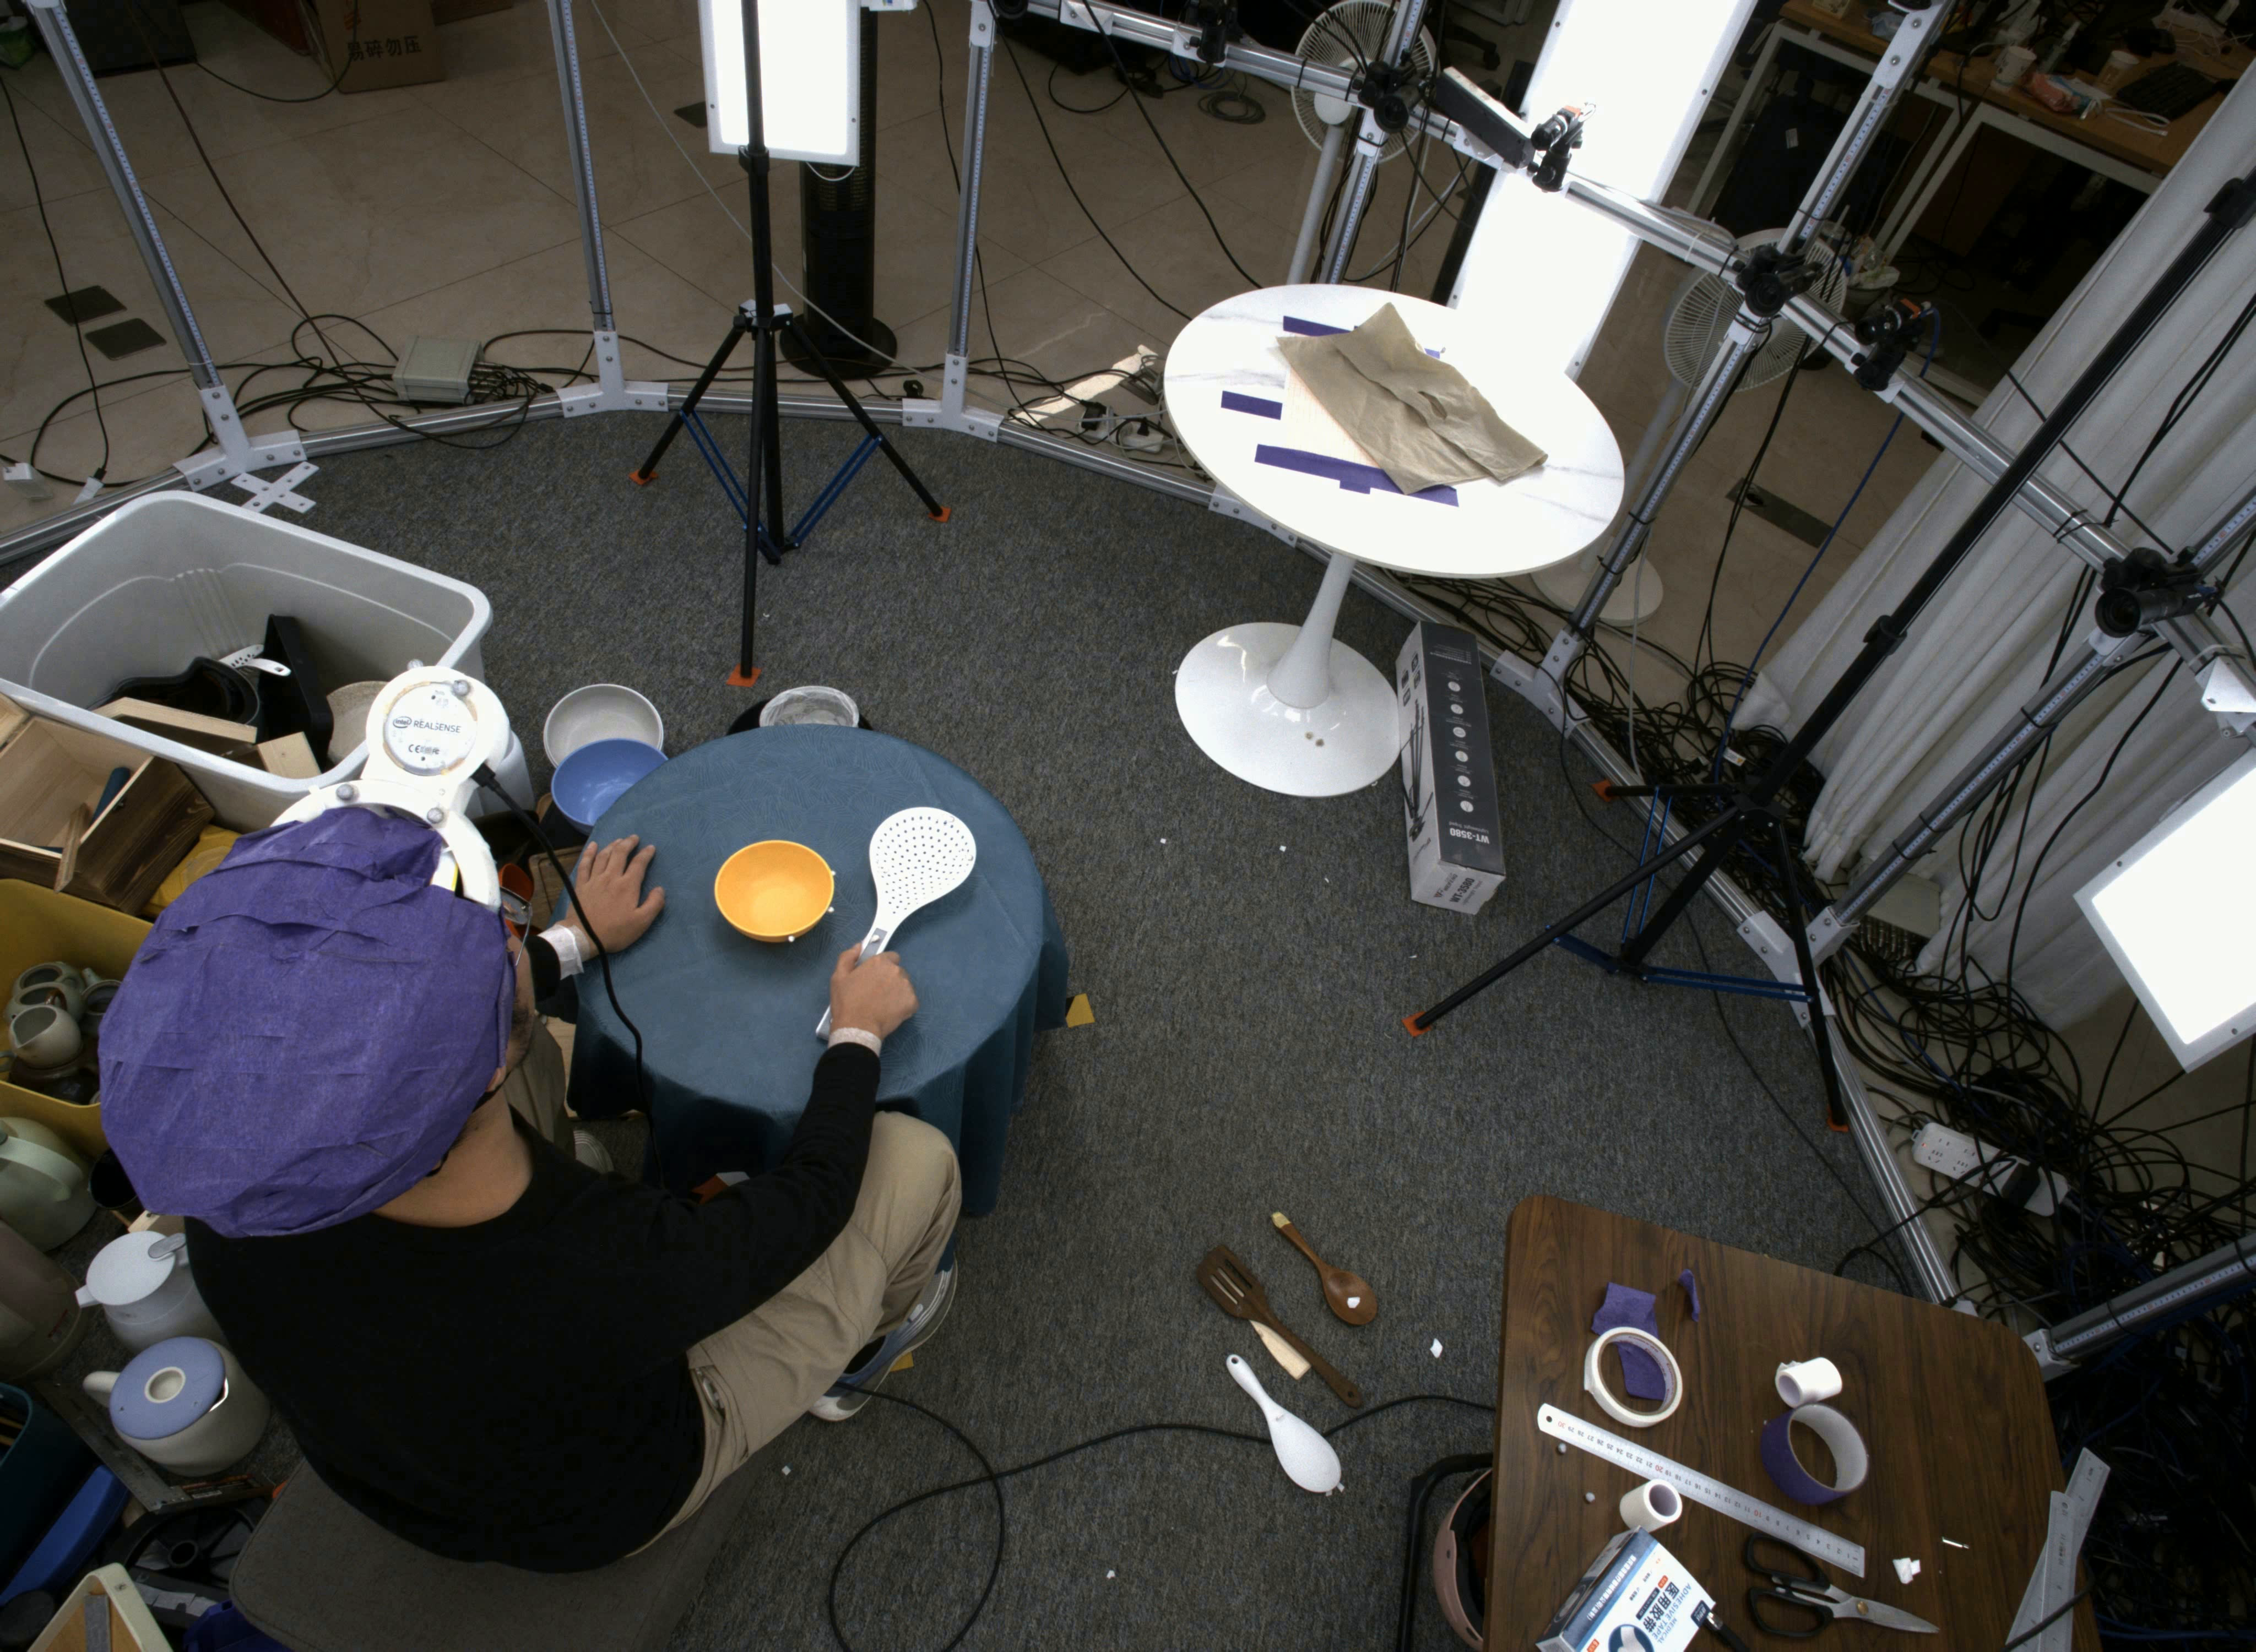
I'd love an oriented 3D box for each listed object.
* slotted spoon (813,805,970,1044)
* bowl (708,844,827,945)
[{"bbox_3d":[-0.307,0.117,1.632,0.135,0.046,0.346,22,53,0],"label":"slotted spoon"},{"bbox_3d":[-0.445,0.094,1.607,0.145,0.061,0.142,7,50,-7],"label":"bowl"}]
